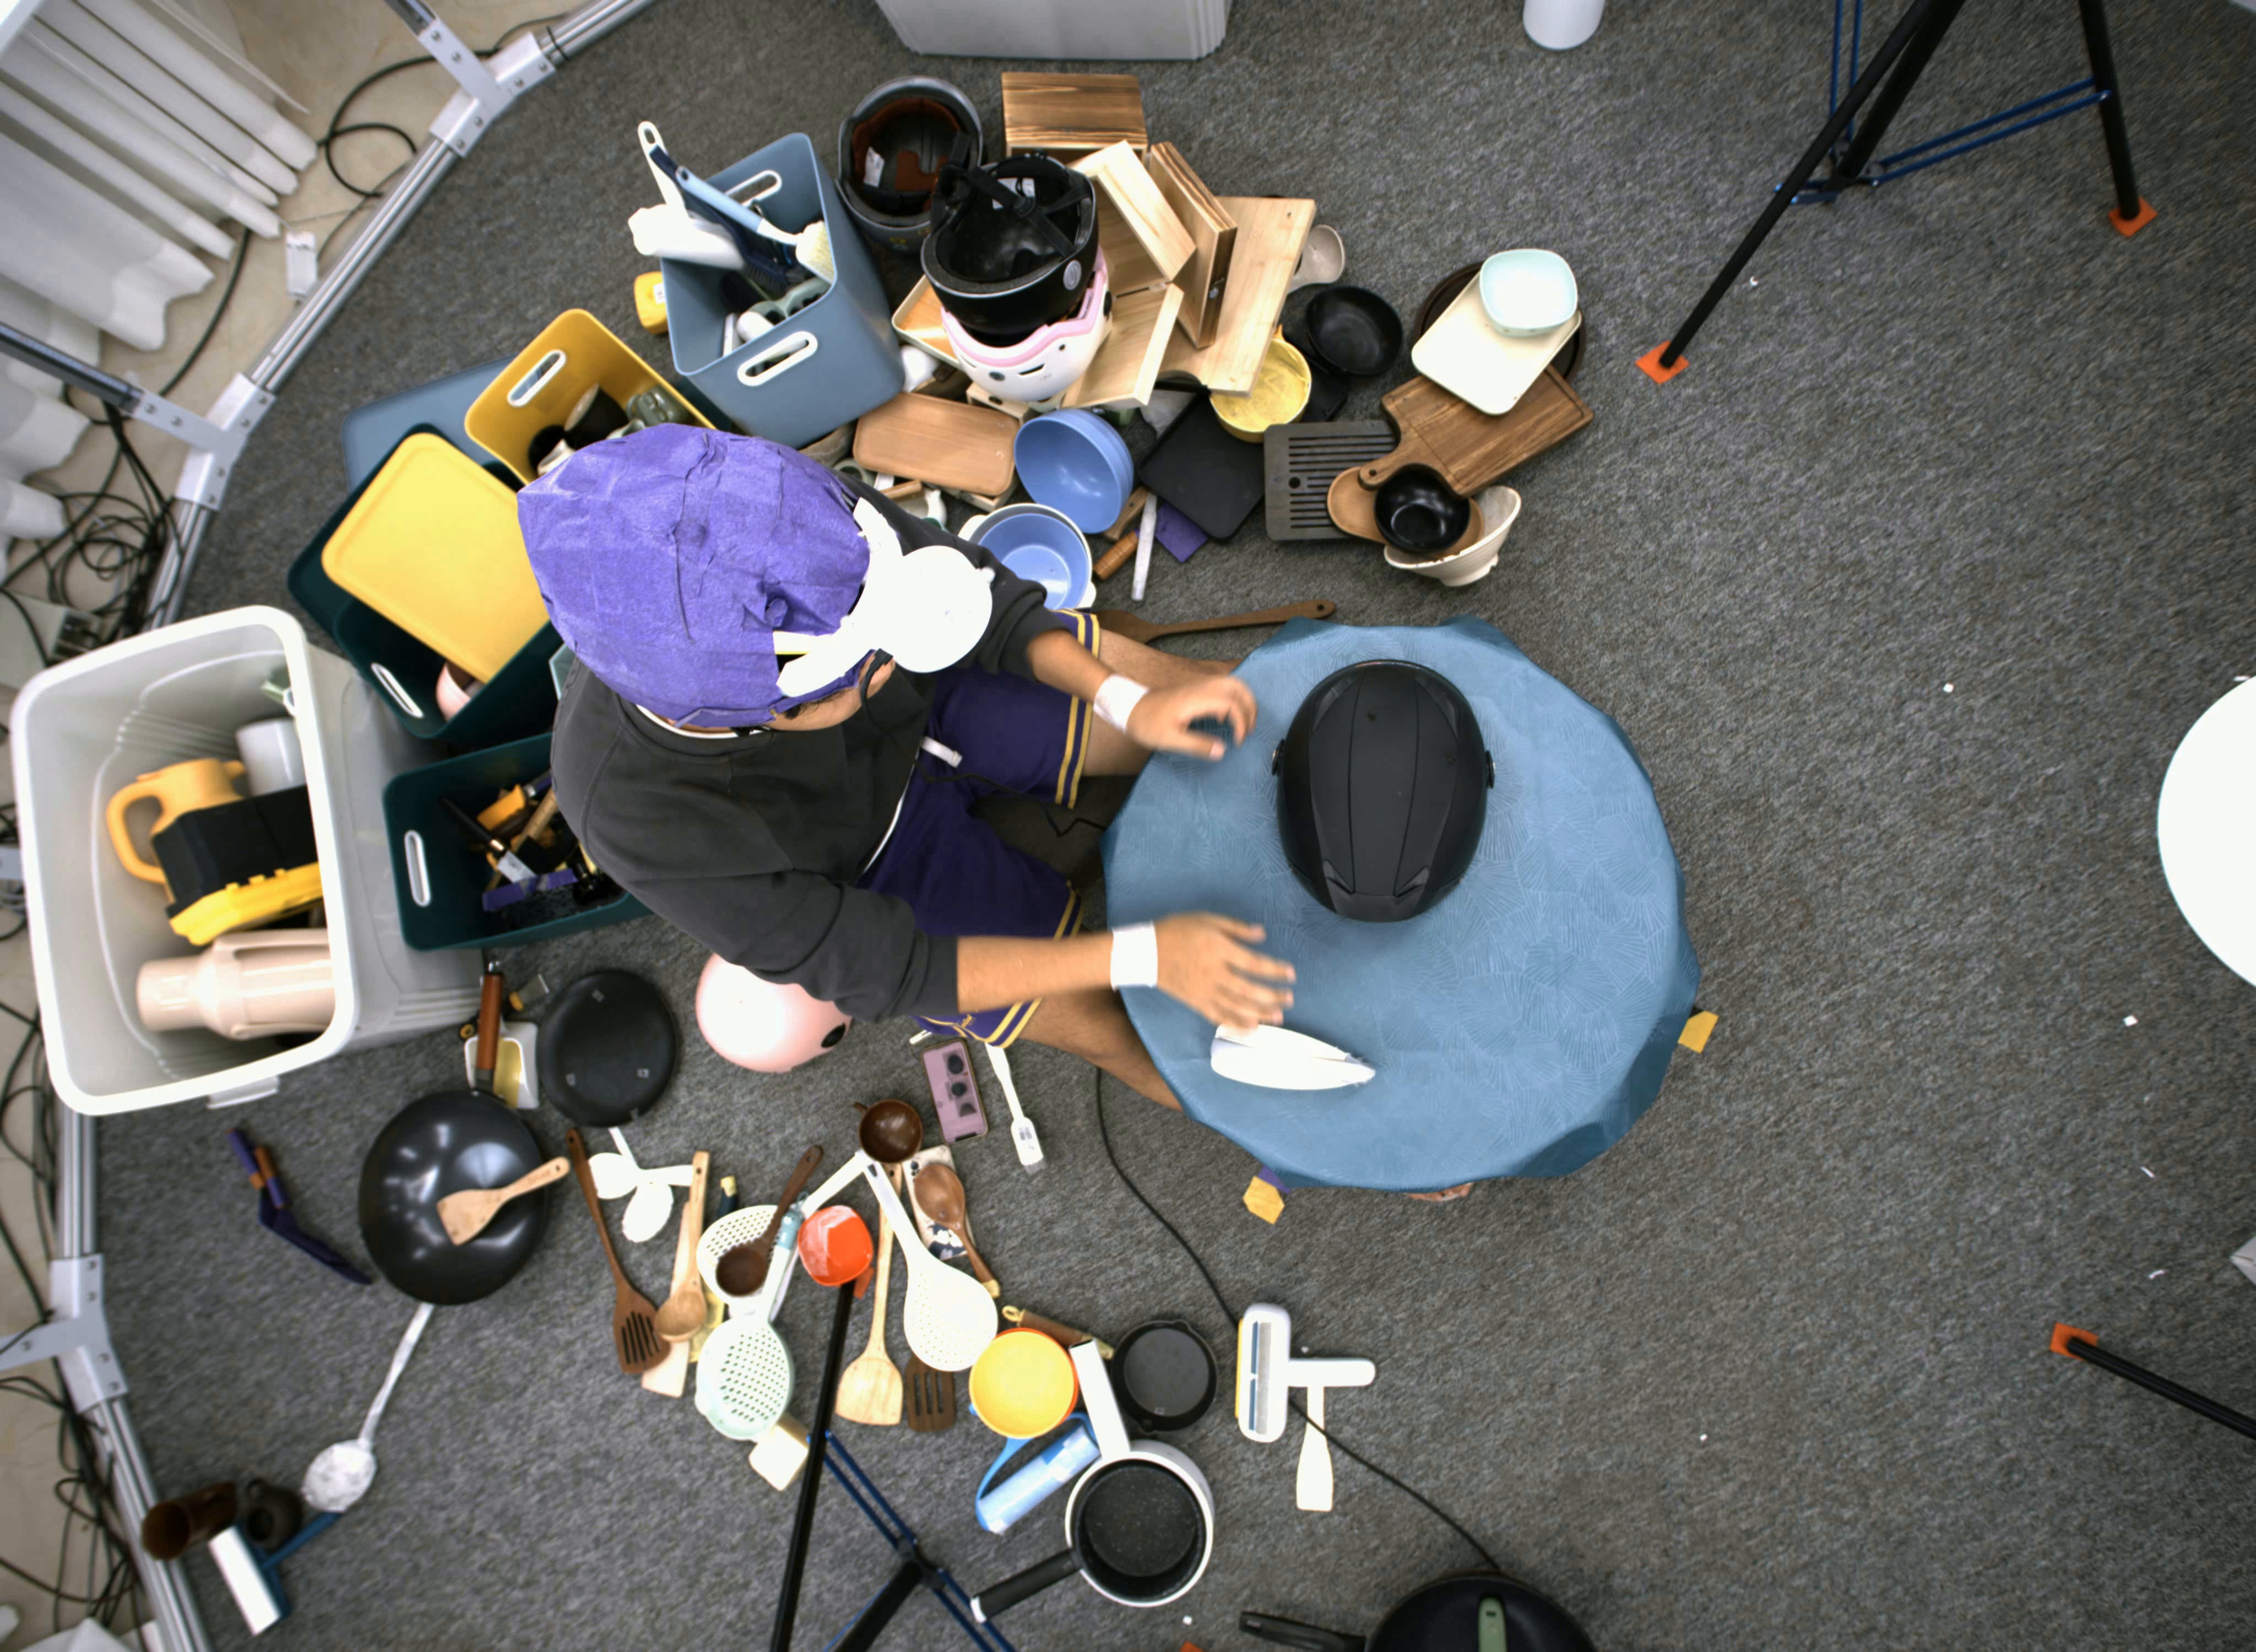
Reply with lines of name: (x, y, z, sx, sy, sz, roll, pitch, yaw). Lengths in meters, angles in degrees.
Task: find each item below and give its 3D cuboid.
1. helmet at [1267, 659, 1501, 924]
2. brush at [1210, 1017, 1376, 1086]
helmet: (0.258, -0.040, 1.387, 0.247, 0.172, 0.277, 6, 91, 10)
brush: (0.169, 0.237, 1.423, 0.176, 0.094, 0.061, 10, 88, 9)
